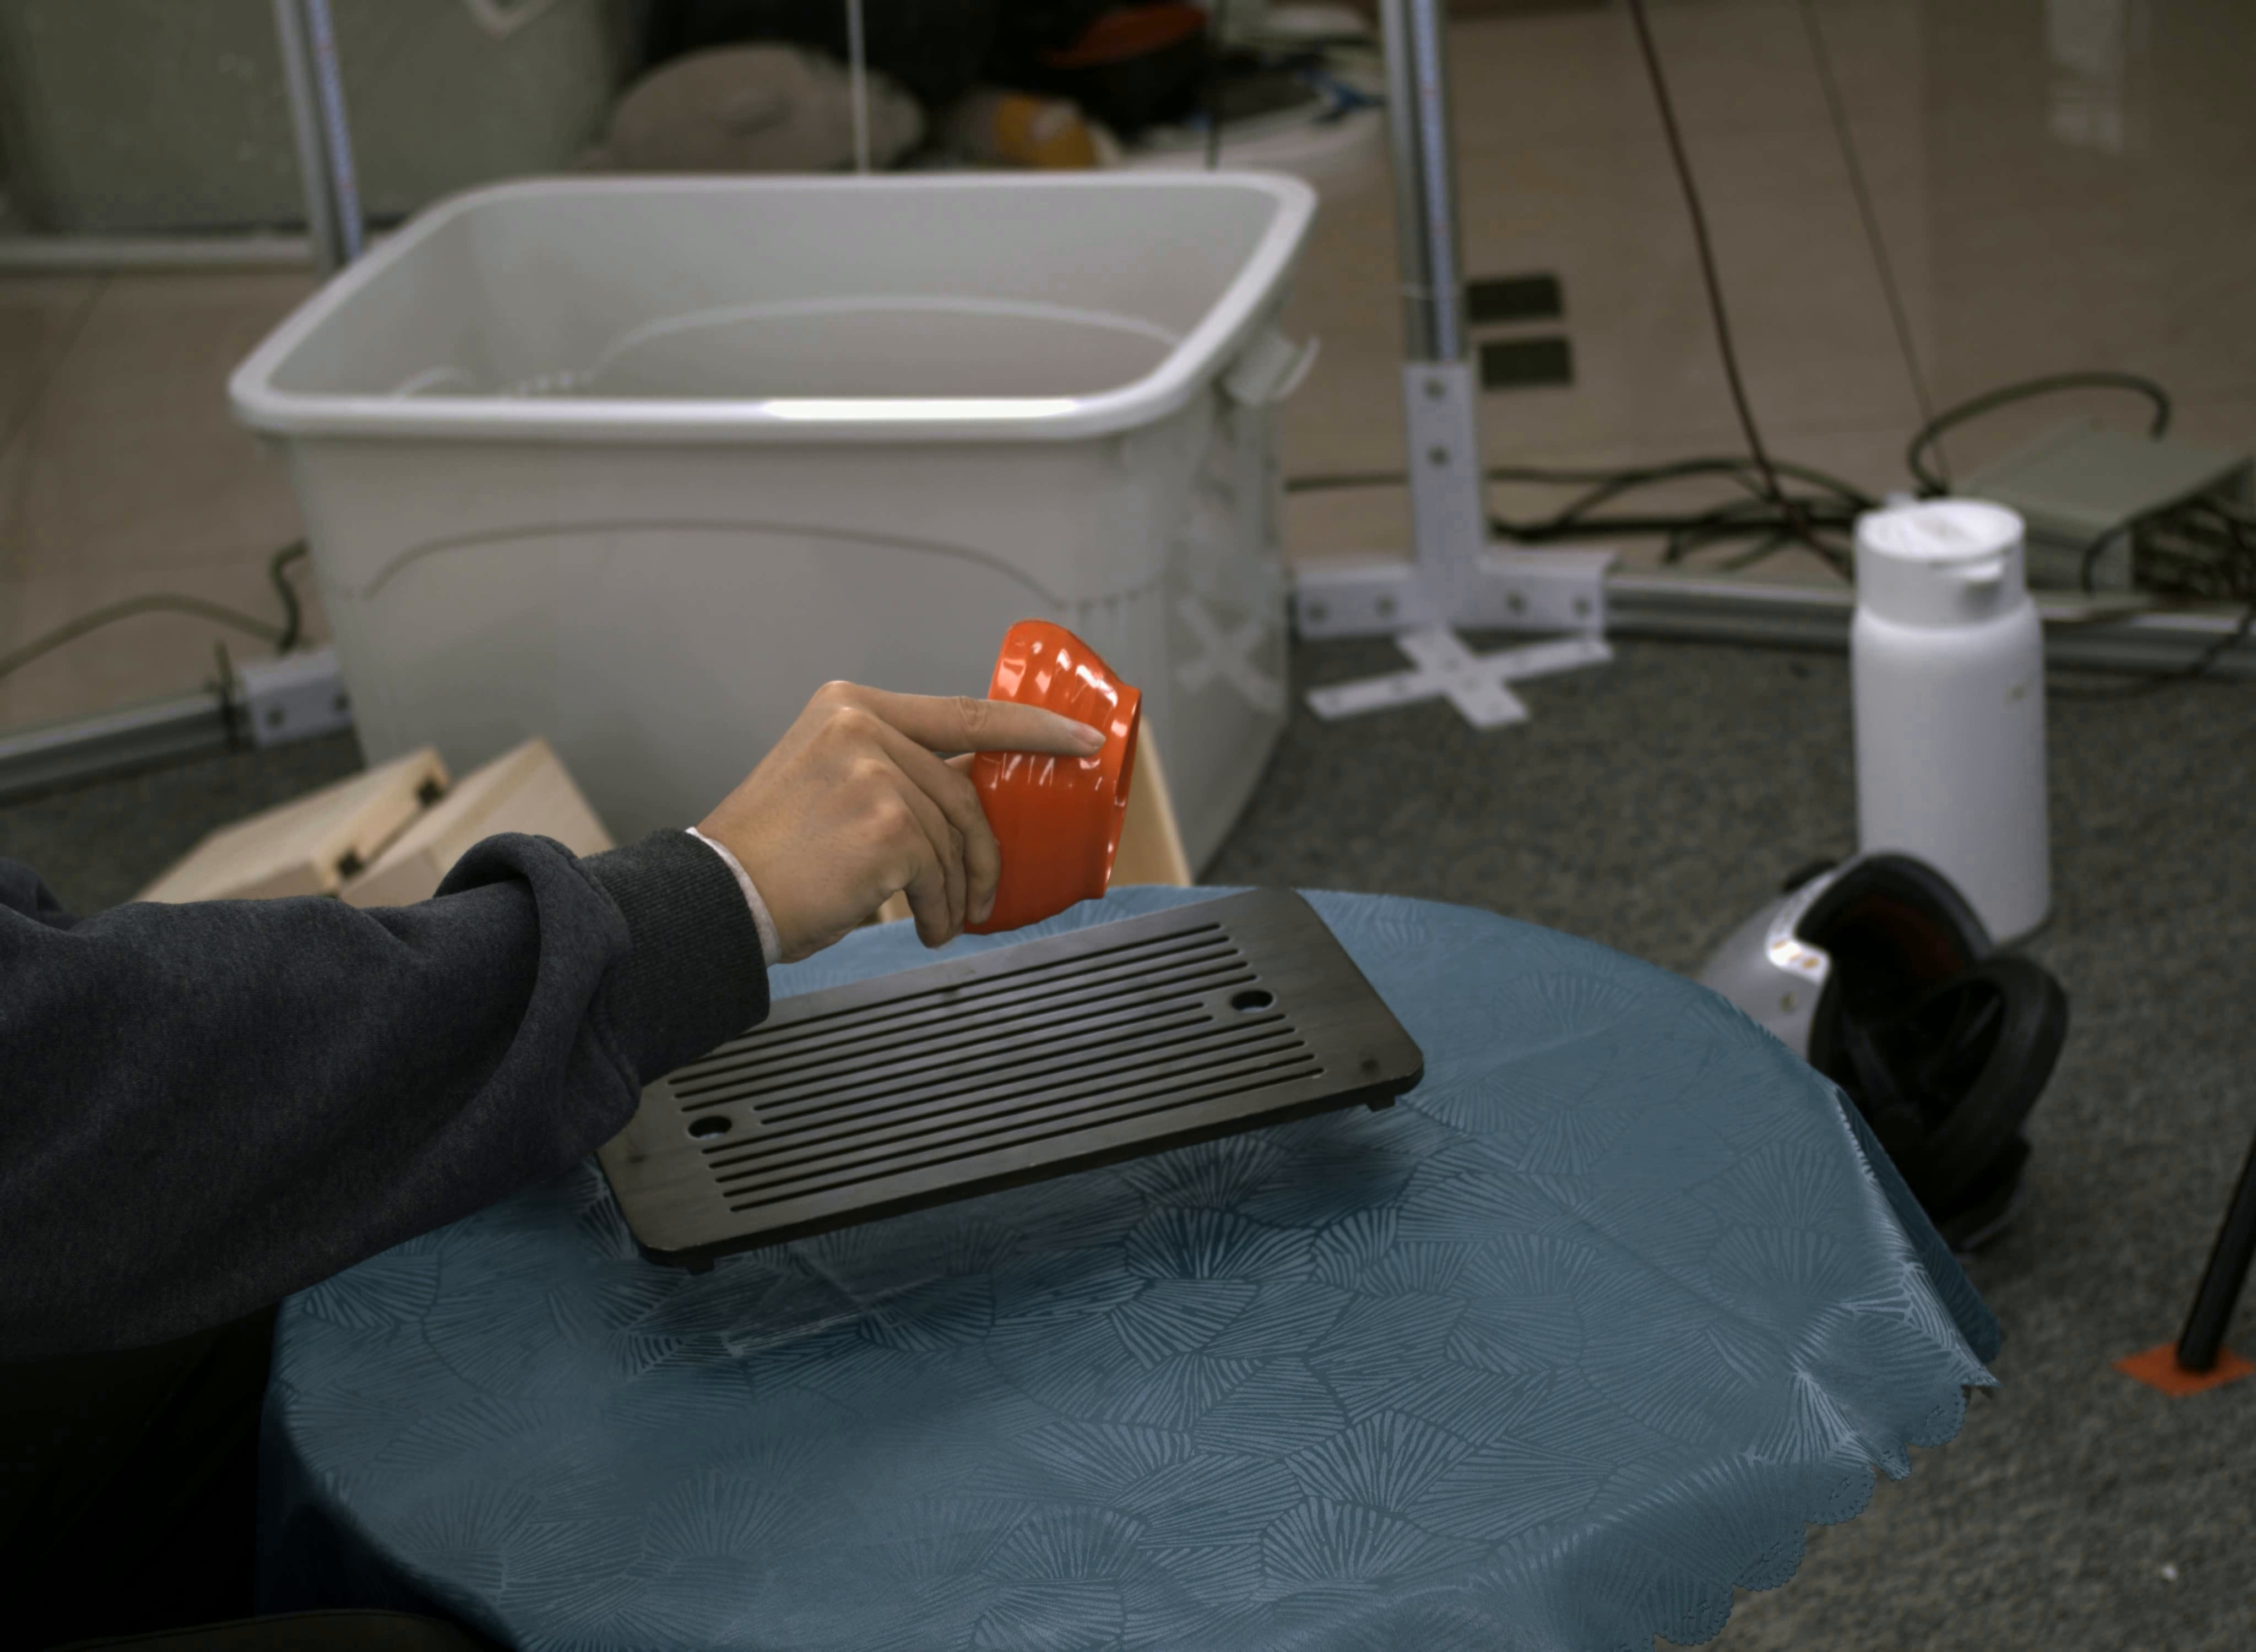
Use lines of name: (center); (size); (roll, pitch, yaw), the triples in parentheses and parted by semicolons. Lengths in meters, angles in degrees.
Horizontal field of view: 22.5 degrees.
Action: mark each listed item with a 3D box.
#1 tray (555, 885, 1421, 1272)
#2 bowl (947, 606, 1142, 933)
tray: (-0.055, 0.095, 2.156); (0.305, 0.019, 0.168); (-13, 28, -12)
bowl: (-0.028, -0.016, 2.023); (0.051, 0.121, 0.117); (12, 27, 3)
